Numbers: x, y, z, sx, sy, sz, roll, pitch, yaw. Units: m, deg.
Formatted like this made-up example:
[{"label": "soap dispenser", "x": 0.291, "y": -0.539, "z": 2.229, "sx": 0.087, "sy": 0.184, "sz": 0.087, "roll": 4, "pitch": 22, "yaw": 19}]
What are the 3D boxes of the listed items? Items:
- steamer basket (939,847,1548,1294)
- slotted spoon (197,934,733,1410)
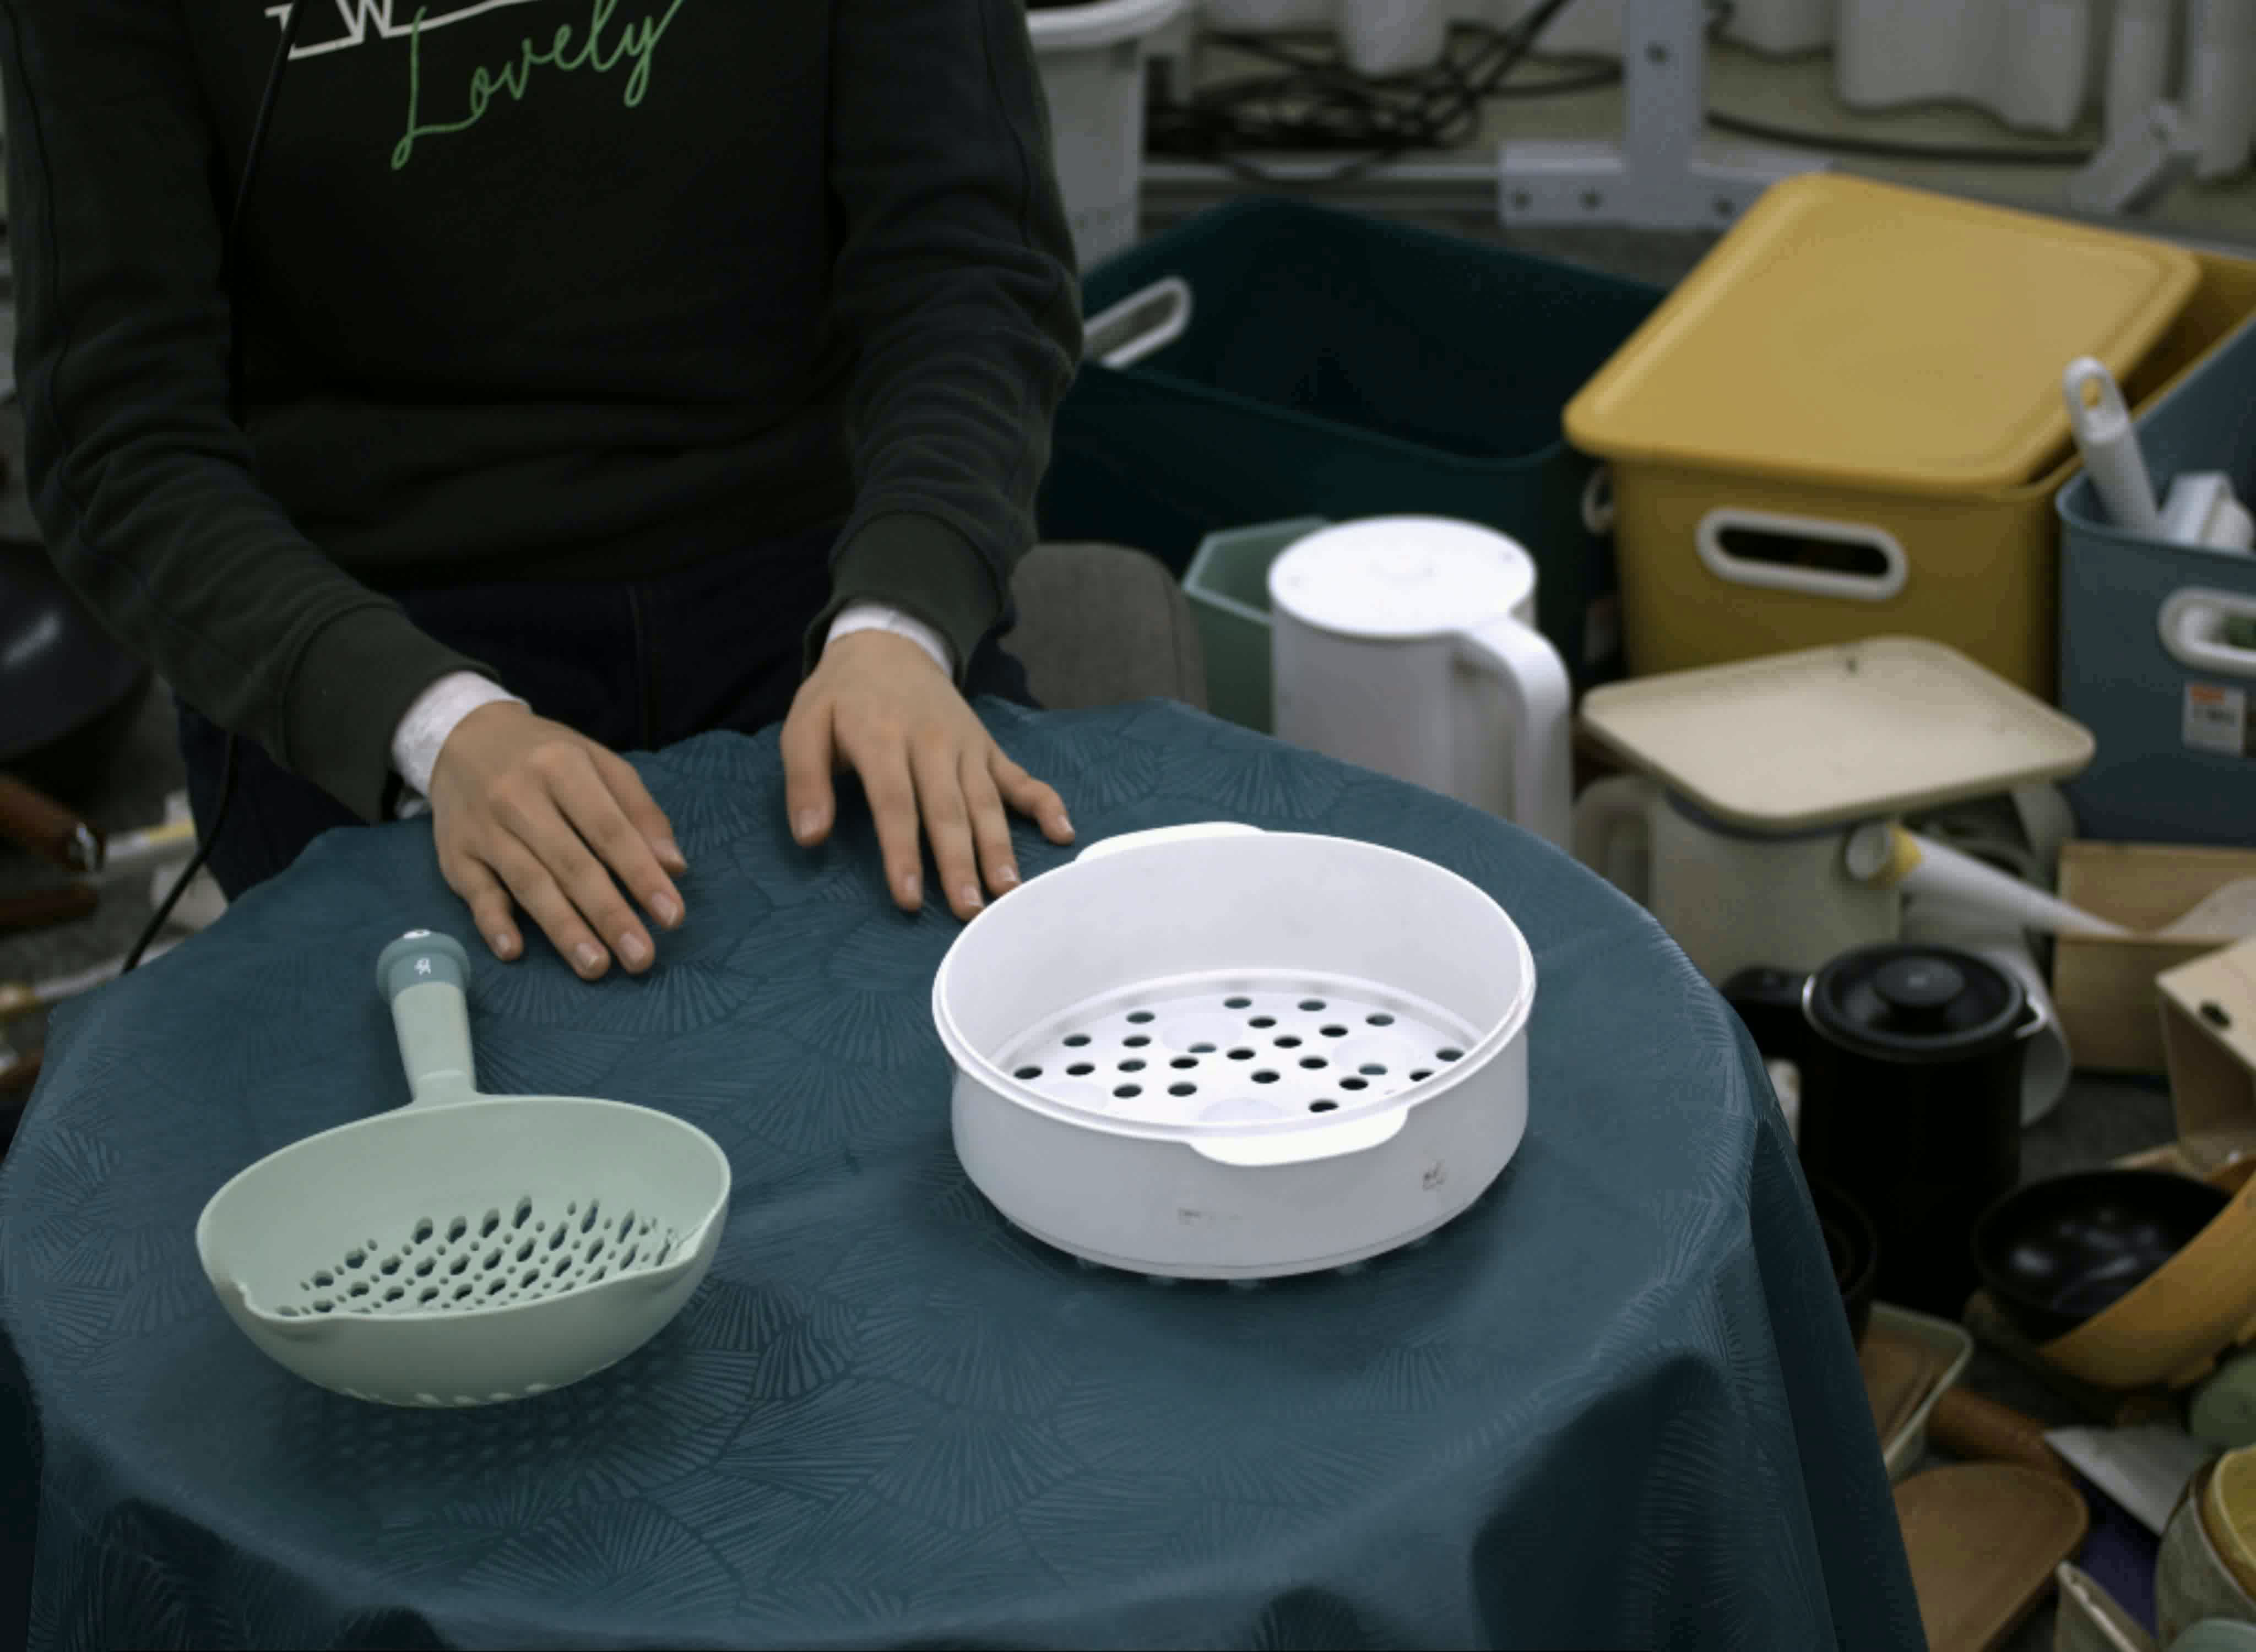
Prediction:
[{"label": "steamer basket", "x": 0.039, "y": 0.082, "z": 1.867, "sx": 0.202, "sy": 0.068, "sz": 0.233, "roll": -7, "pitch": 26, "yaw": -11}, {"label": "slotted spoon", "x": -0.224, "y": 0.099, "z": 1.858, "sx": 0.169, "sy": 0.074, "sz": 0.363, "roll": -7, "pitch": 27, "yaw": -8}]
